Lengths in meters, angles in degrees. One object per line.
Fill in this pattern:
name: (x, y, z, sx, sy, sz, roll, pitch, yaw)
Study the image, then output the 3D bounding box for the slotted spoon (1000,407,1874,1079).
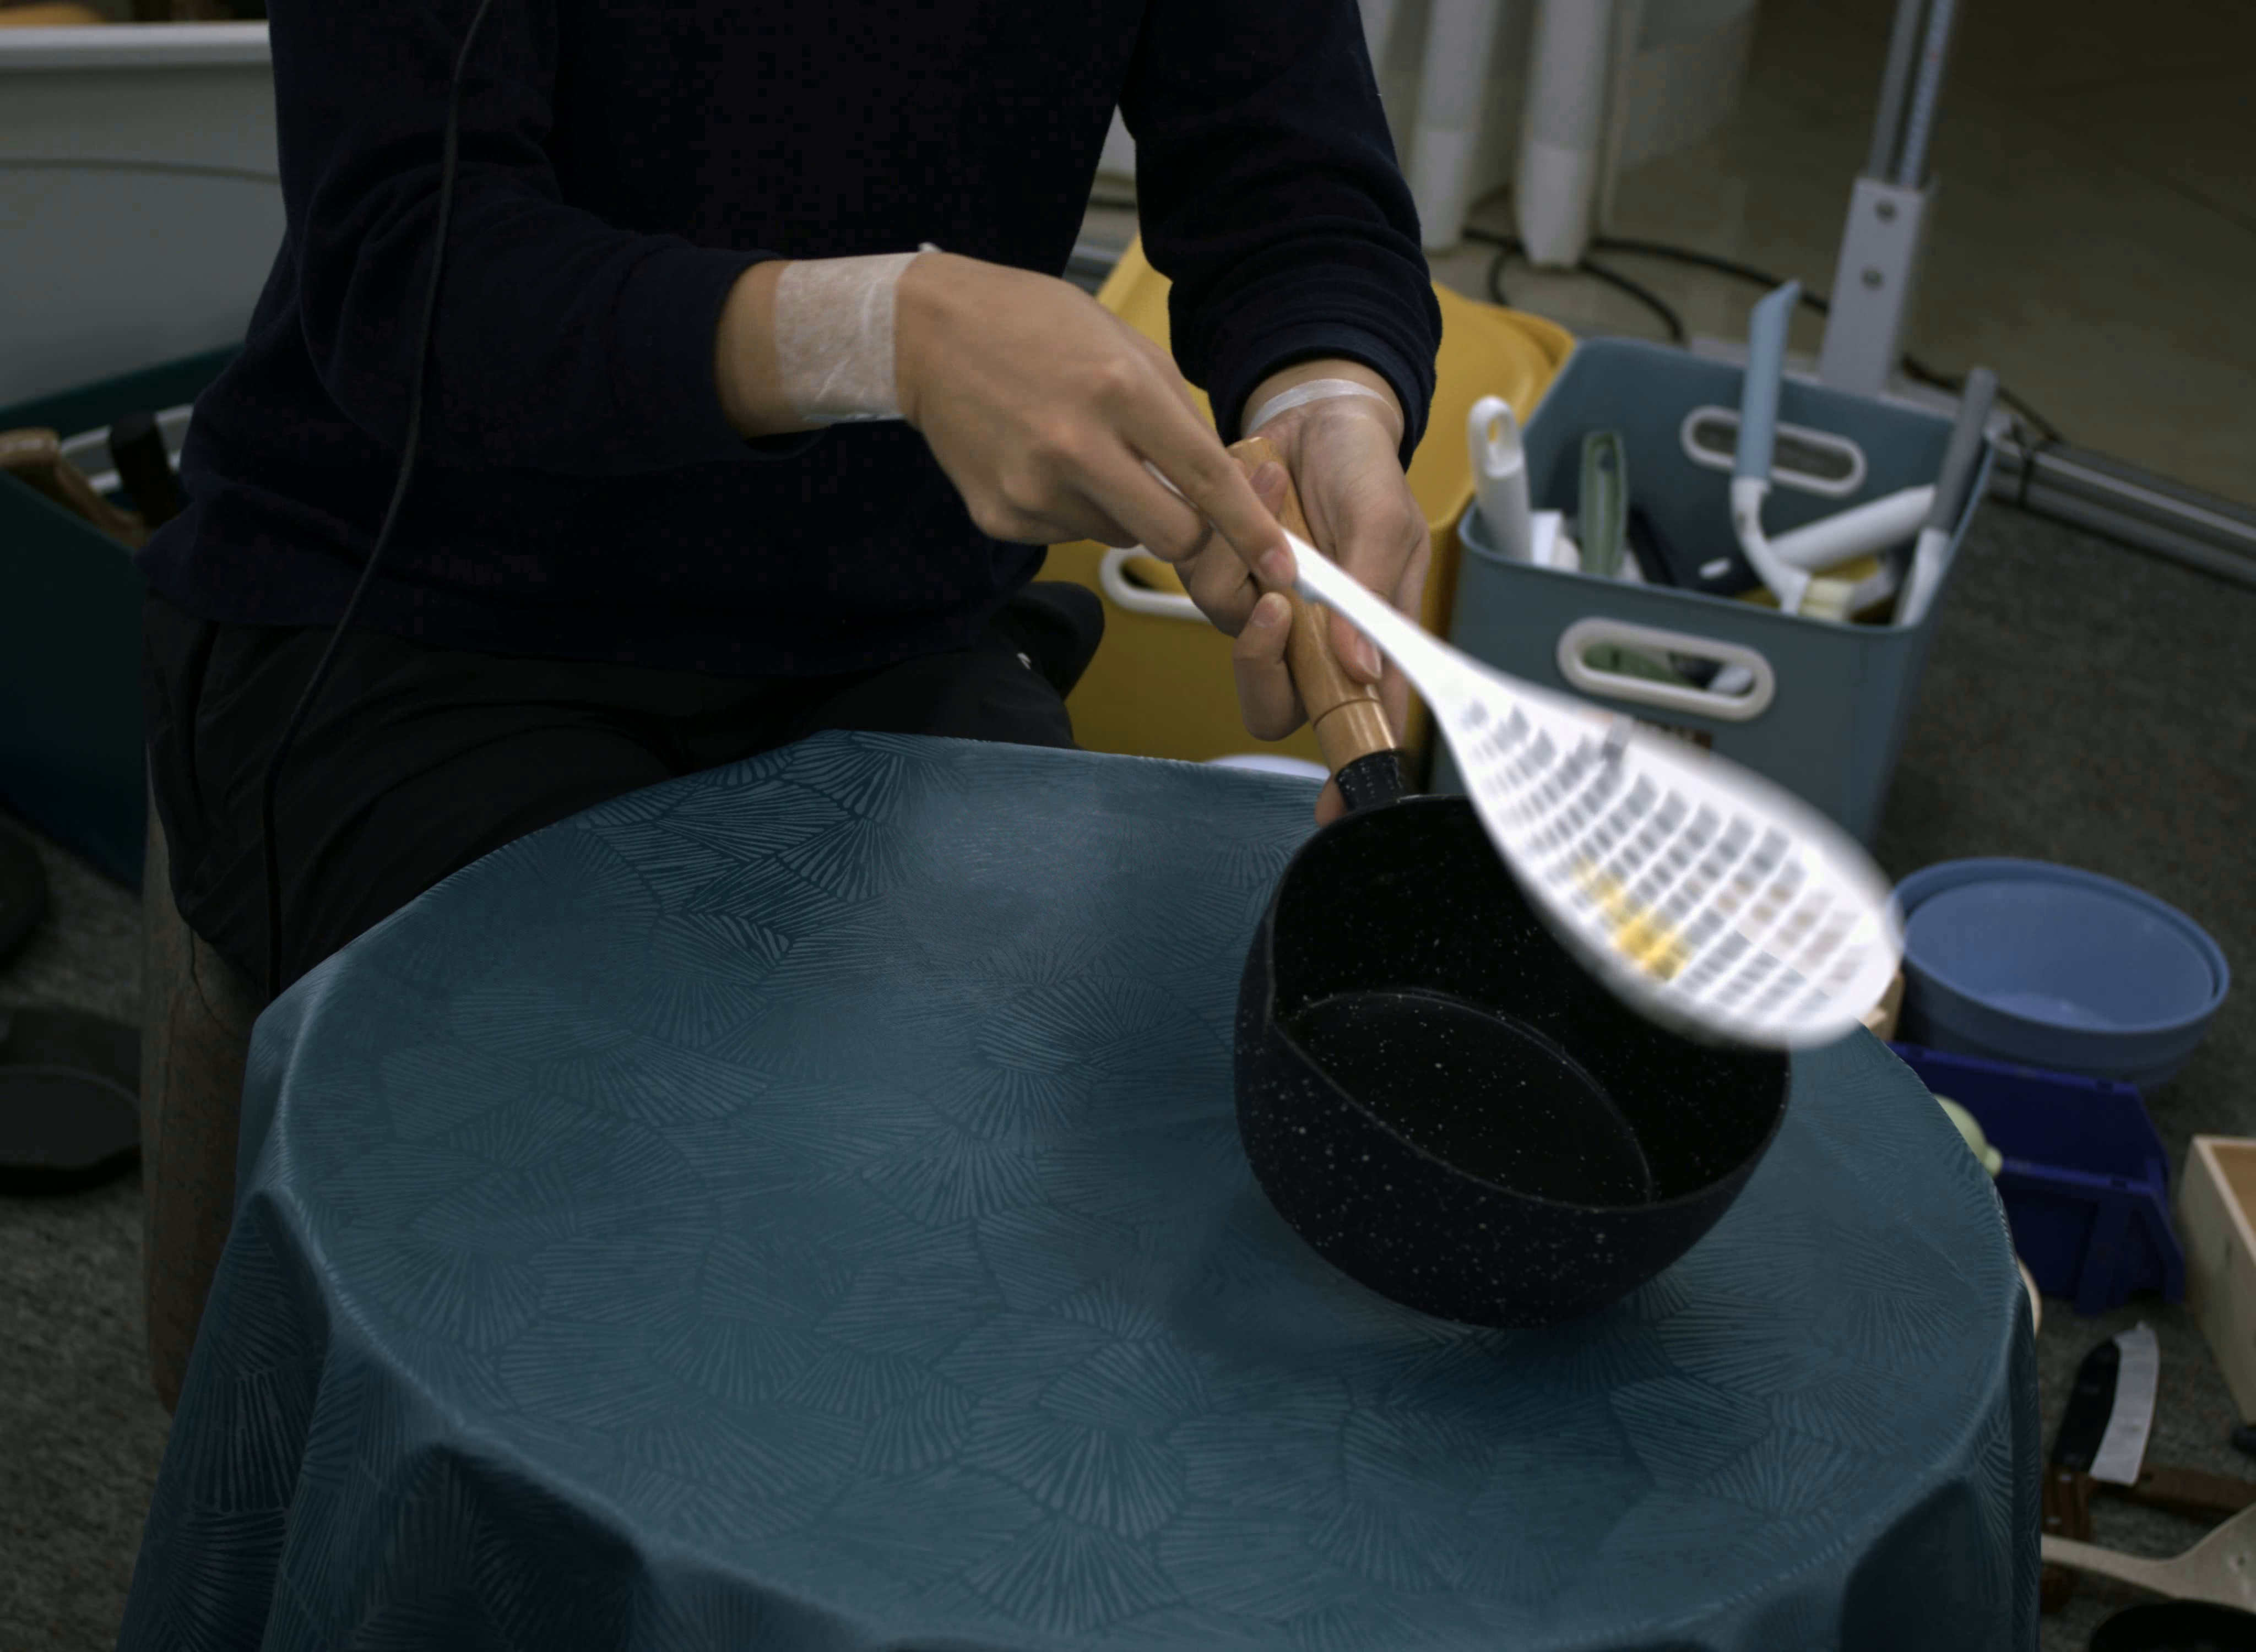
slotted spoon: (0.096, -0.034, 1.735, 0.349, 0.050, 0.136, 45, 33, 11)

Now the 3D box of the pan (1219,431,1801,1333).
pan: (0.092, 0.019, 1.807, 0.206, 0.108, 0.346, -7, 50, -29)
